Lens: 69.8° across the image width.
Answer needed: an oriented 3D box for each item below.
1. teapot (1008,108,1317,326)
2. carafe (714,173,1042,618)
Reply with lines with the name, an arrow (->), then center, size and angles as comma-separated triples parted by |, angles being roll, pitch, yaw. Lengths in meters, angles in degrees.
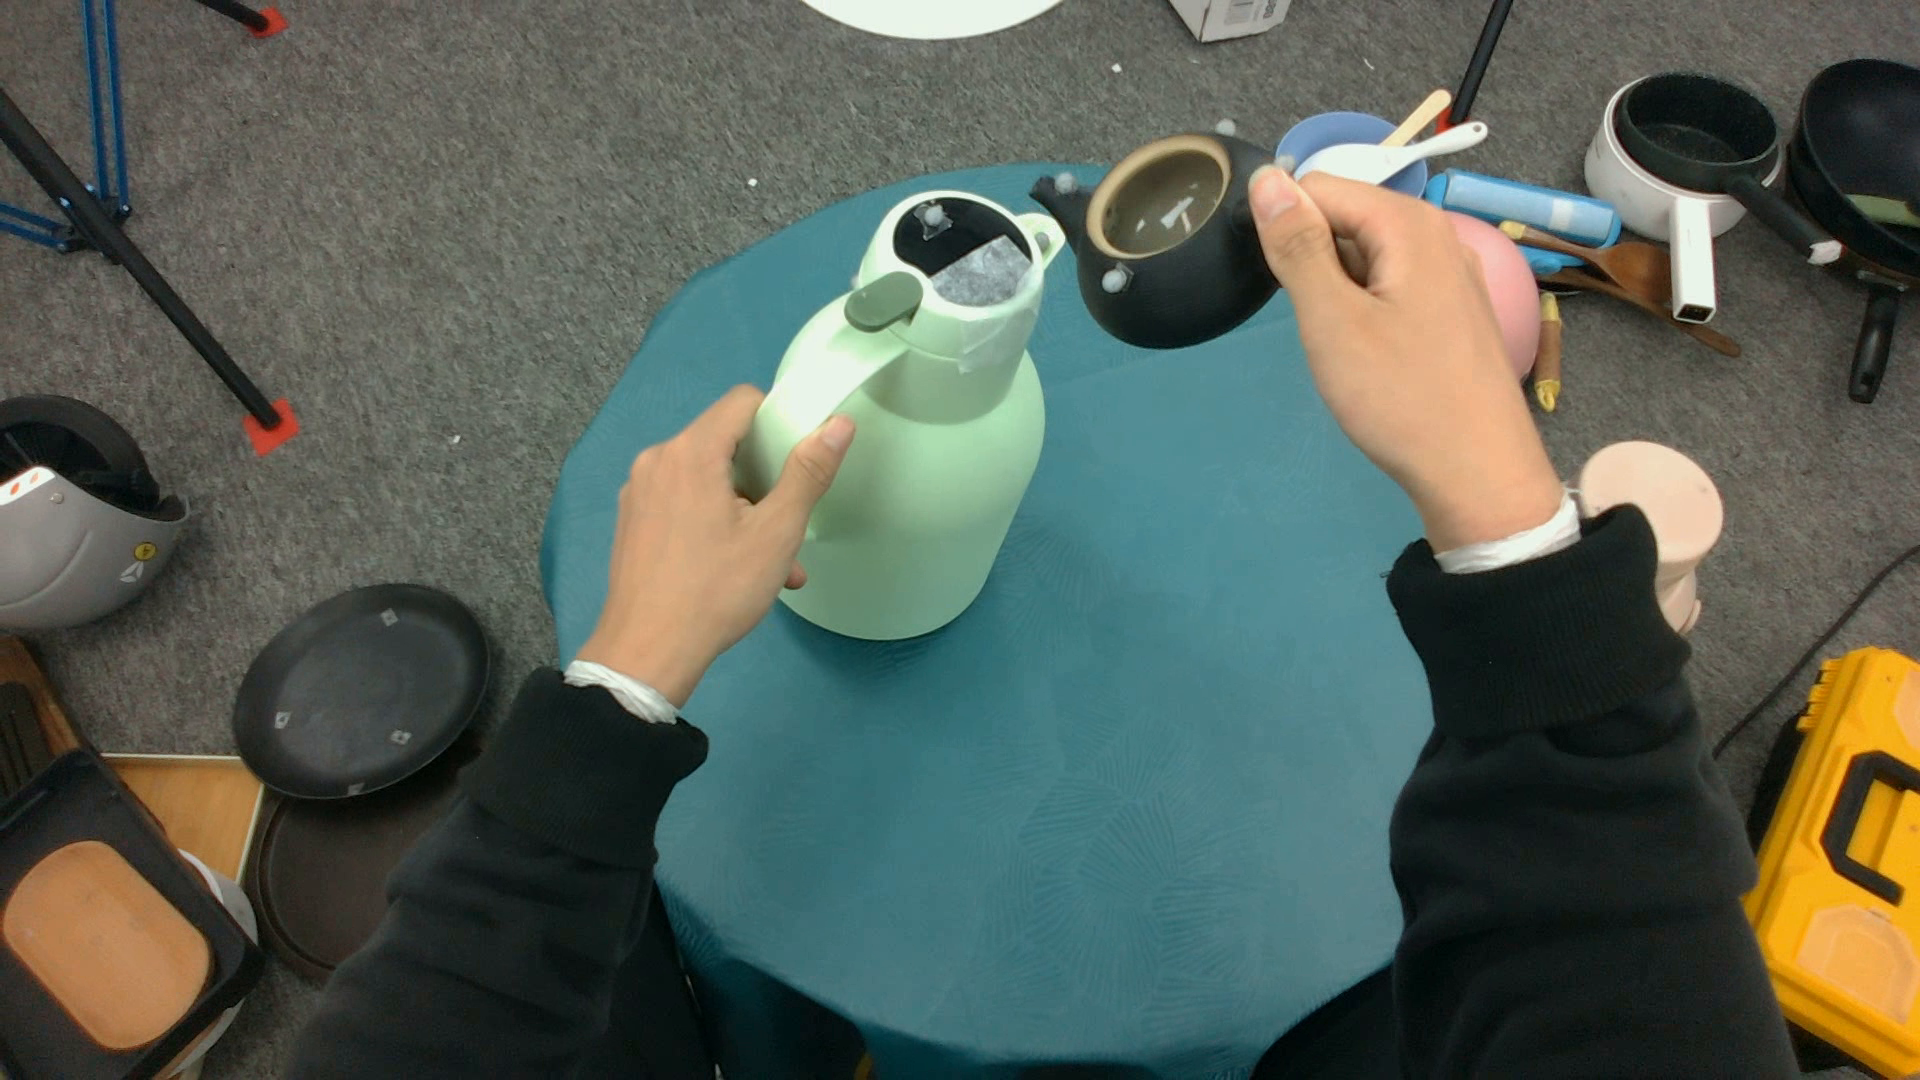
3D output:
teapot -> 0.079, -0.126, 0.531 | 0.133, 0.053, 0.091 | 20, 77, 40
carafe -> -0.047, -0.065, 0.698 | 0.144, 0.255, 0.187 | 44, 62, 11
